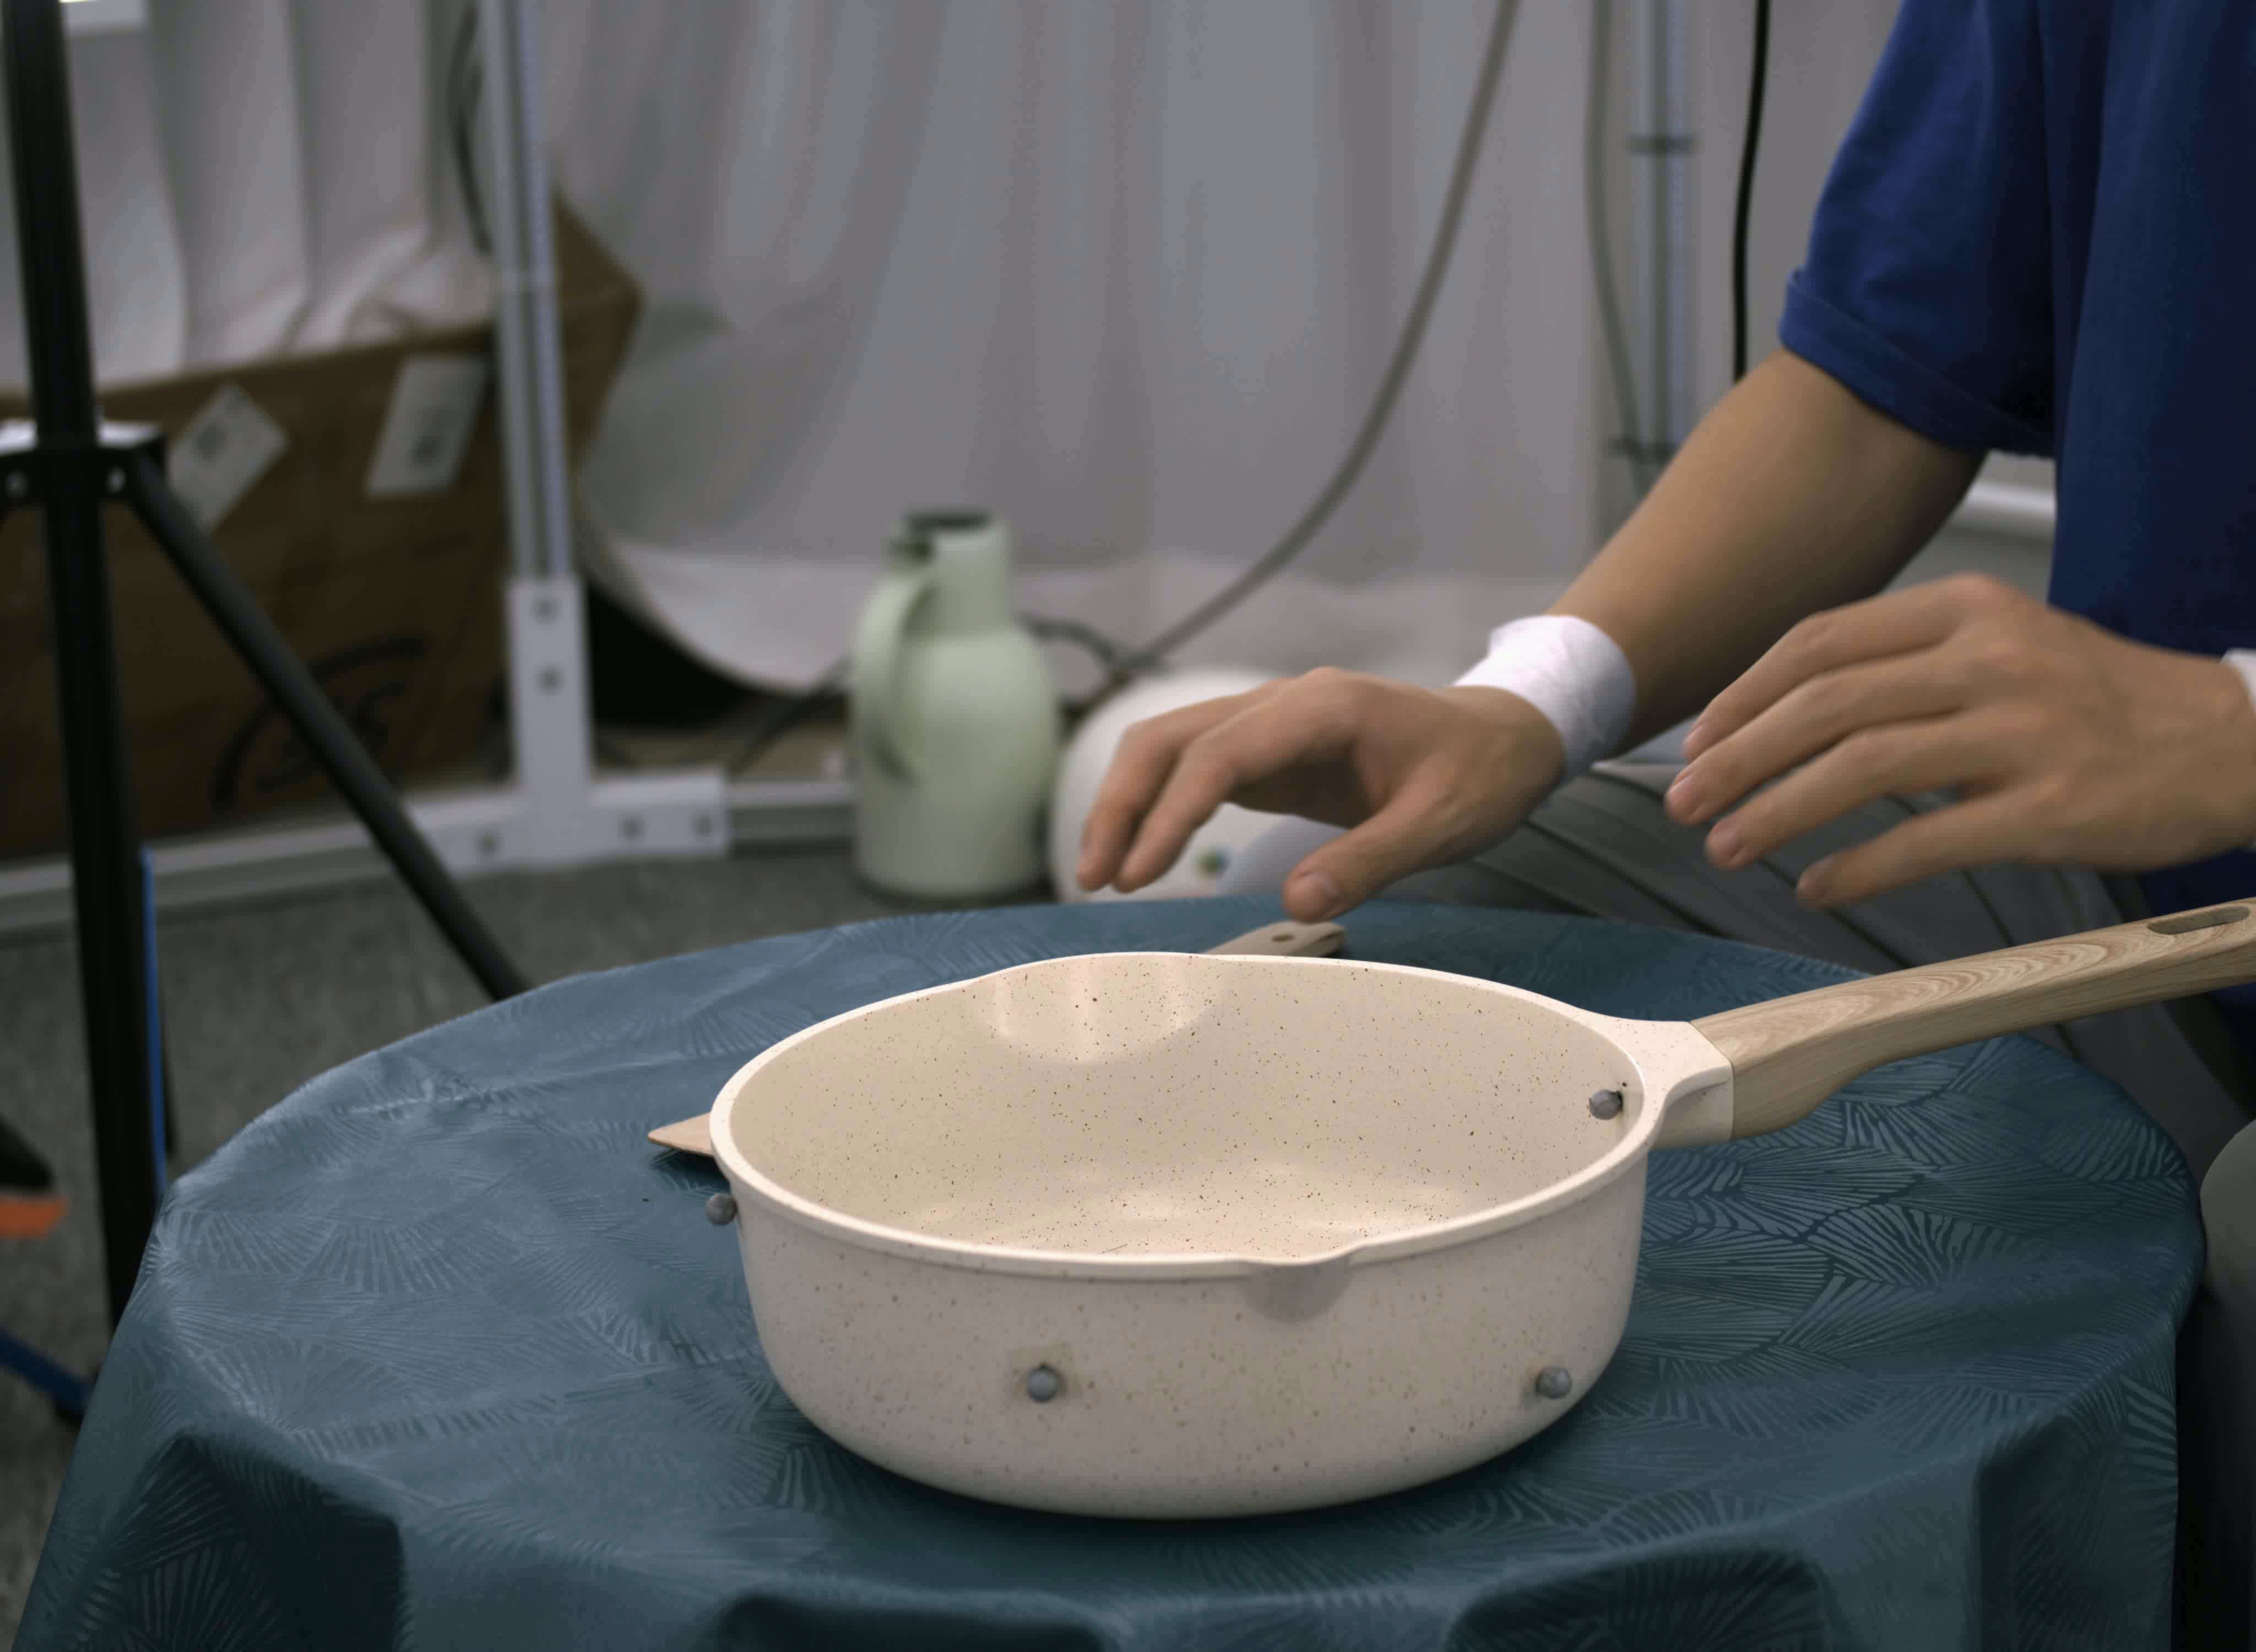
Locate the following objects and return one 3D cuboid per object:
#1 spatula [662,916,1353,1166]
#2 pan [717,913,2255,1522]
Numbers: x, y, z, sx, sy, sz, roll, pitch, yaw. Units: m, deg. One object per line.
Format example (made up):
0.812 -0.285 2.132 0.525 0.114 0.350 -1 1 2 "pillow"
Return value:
-0.025 0.068 1.688 0.074 0.010 0.286 10 20 40 "spatula"
0.108 0.095 1.407 0.429 0.102 0.267 -5 14 -11 "pan"
